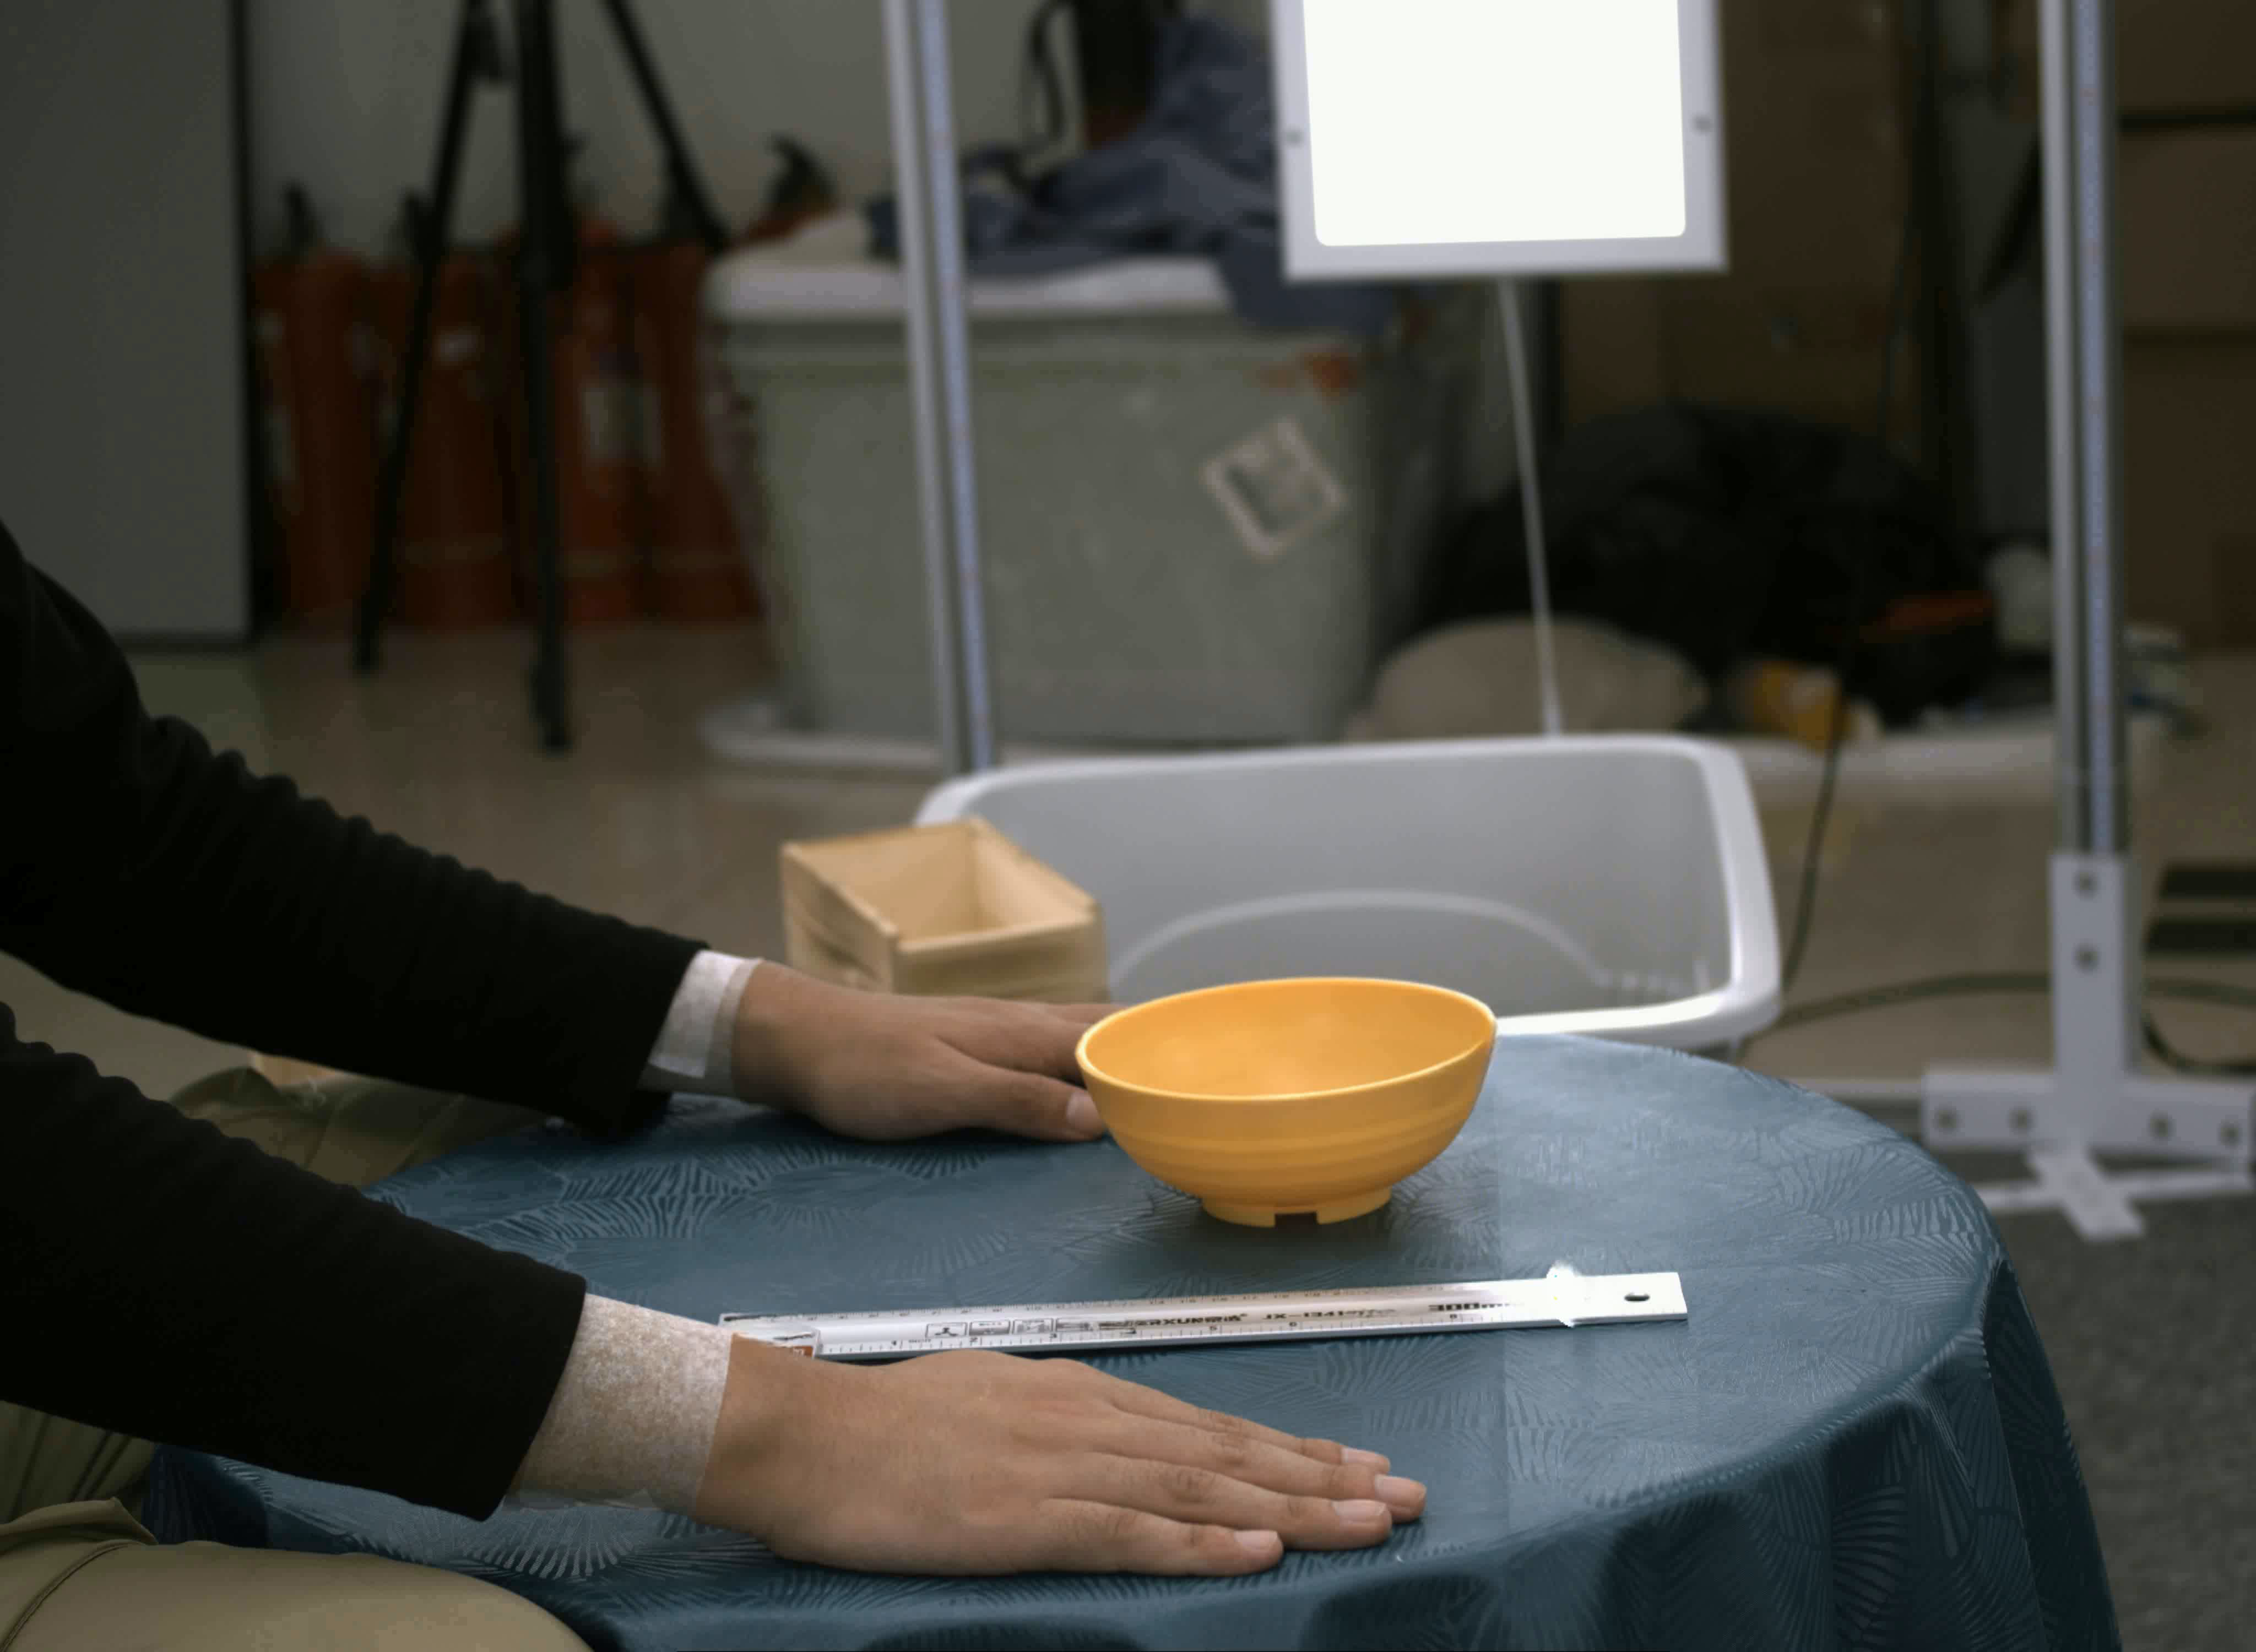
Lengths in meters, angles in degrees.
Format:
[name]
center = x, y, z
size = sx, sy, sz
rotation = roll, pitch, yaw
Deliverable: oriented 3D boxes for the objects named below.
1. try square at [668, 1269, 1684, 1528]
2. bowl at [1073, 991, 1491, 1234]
[try square]
center = 0.019, 0.173, 1.700
size = 0.313, 0.016, 0.151
rotation = -3, 18, 4
[bowl]
center = 0.056, 0.101, 1.867
size = 0.145, 0.060, 0.145
rotation = -7, 12, 0
